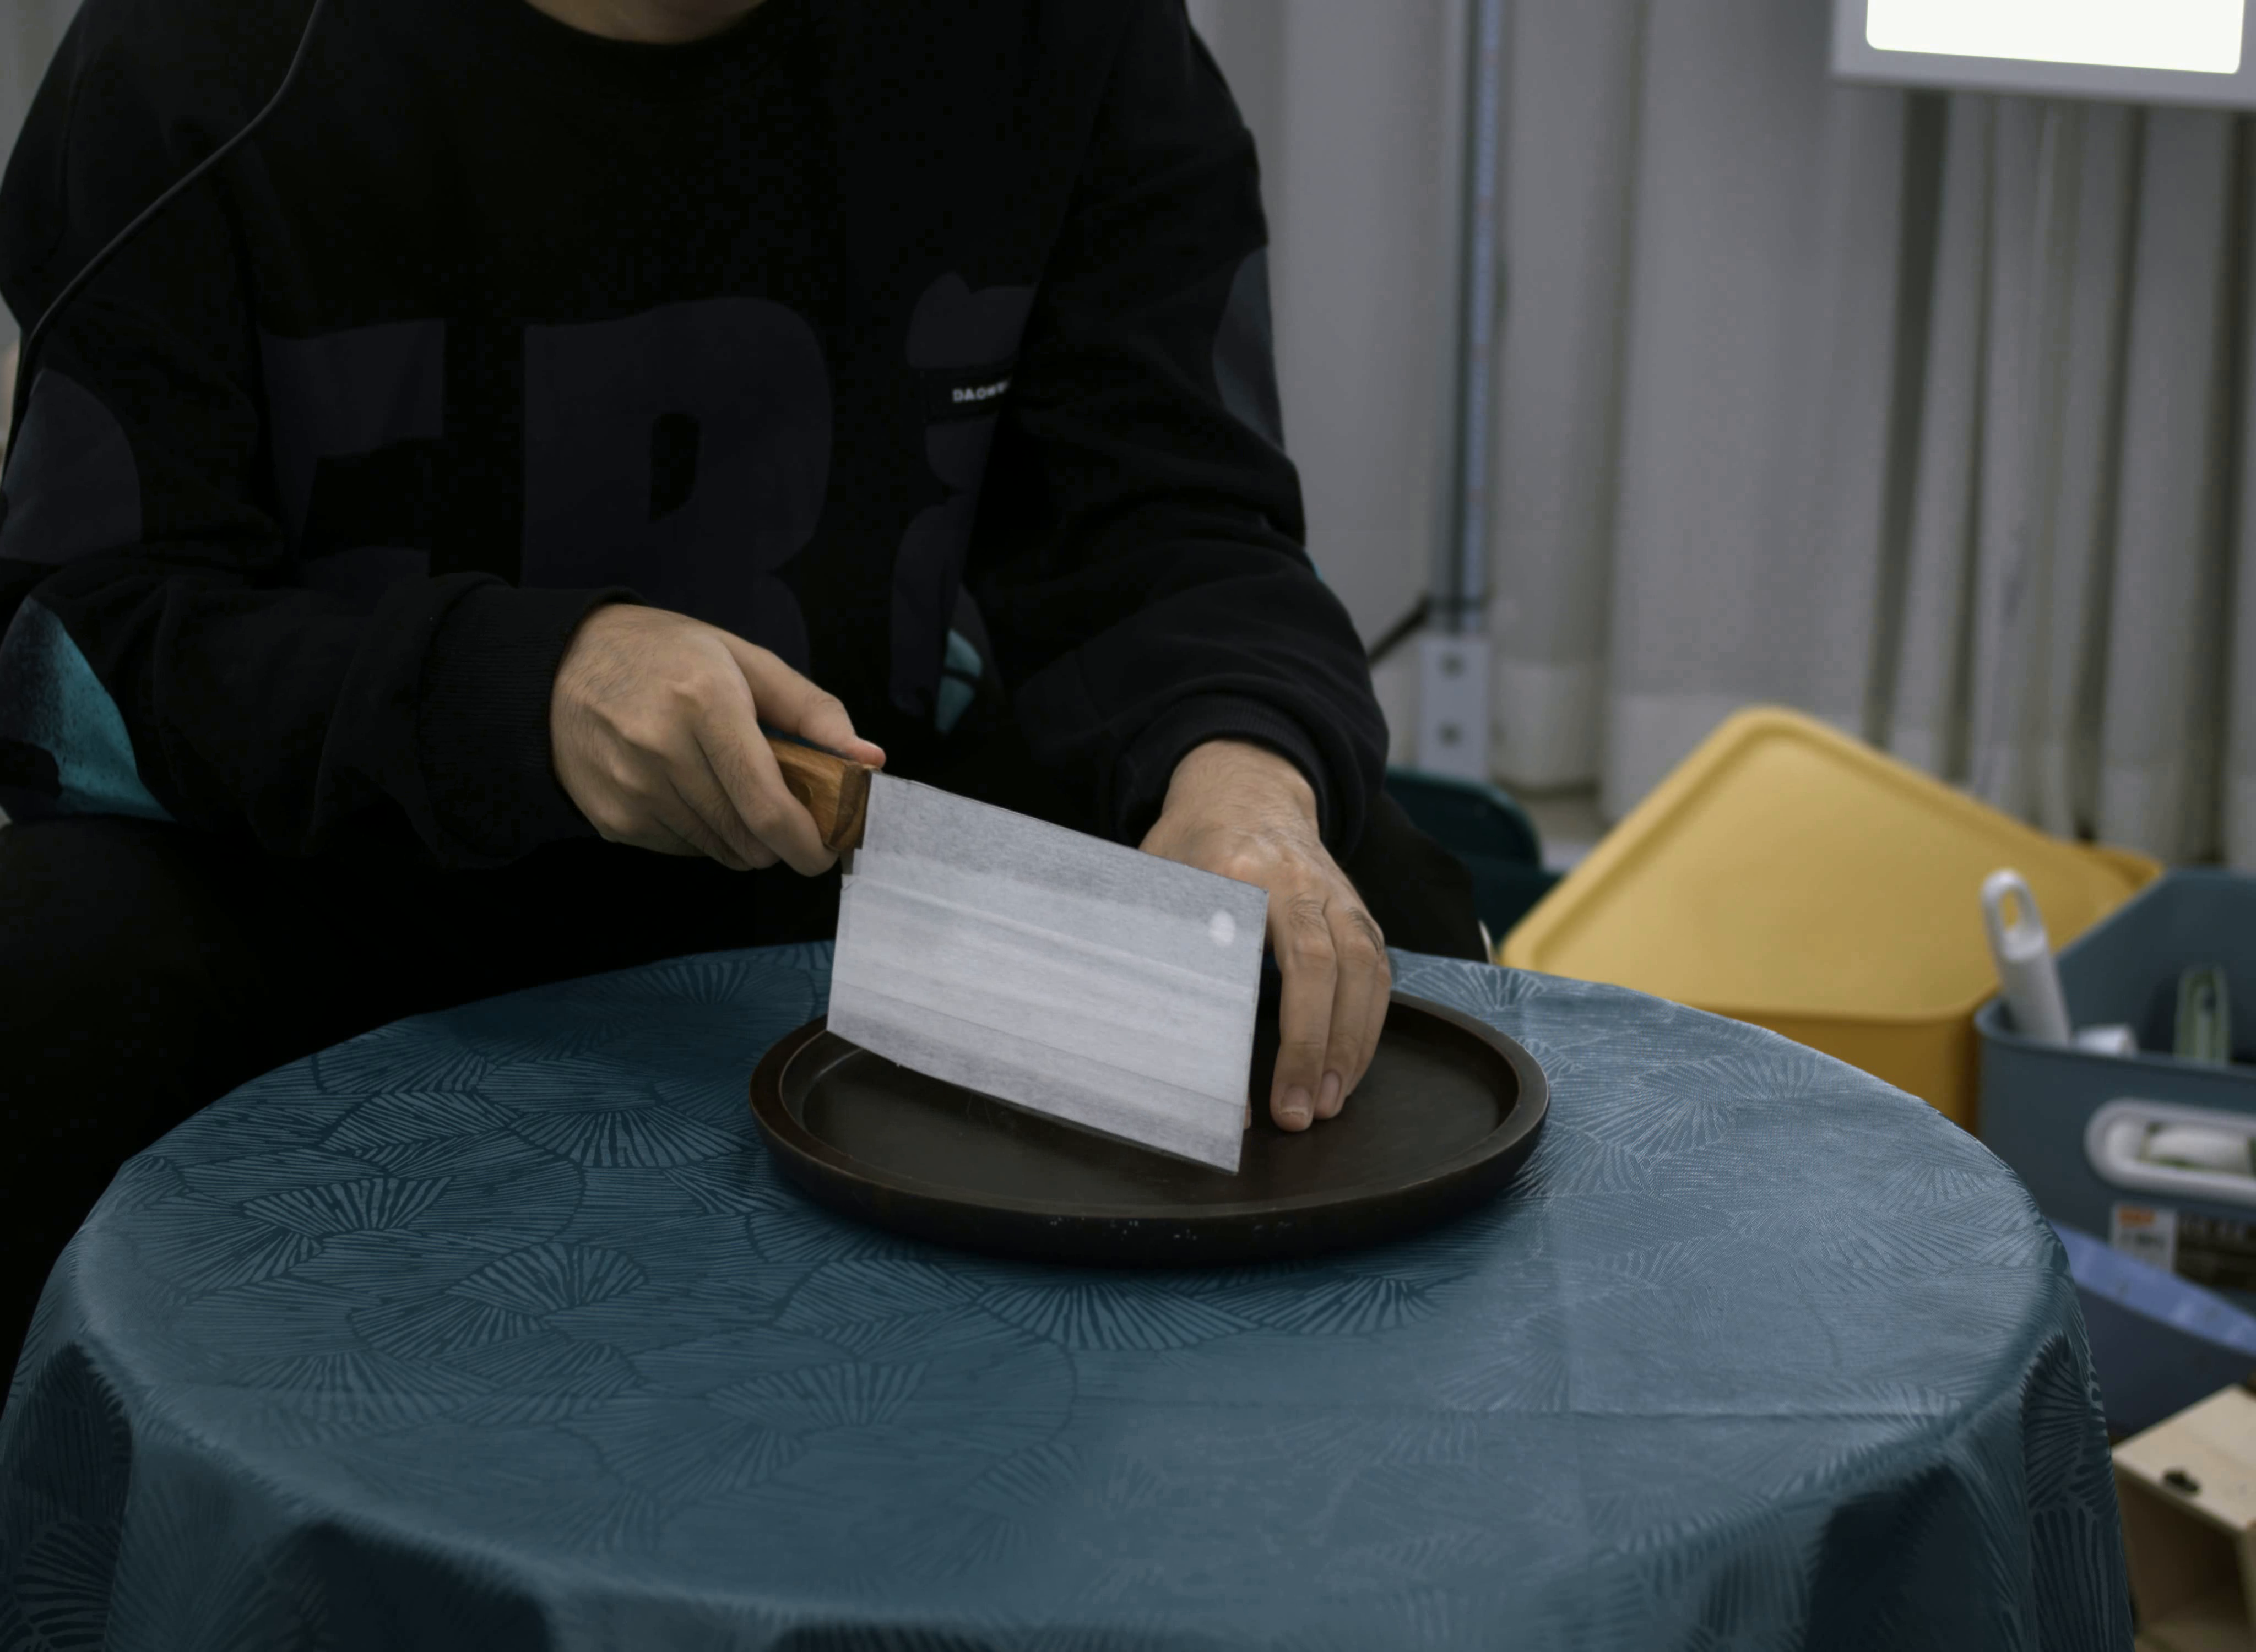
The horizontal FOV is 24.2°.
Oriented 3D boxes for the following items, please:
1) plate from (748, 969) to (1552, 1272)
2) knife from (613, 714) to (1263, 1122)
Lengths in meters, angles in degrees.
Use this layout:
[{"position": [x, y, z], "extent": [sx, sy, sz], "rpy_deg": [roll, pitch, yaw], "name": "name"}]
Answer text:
[{"position": [0.007, 0.089, 1.659], "extent": [0.254, 0.029, 0.253], "rpy_deg": [0, 17, 1], "name": "plate"}, {"position": [-0.066, 0.029, 1.671], "extent": [0.021, 0.093, 0.301], "rpy_deg": [-6, 16, -44], "name": "knife"}]
